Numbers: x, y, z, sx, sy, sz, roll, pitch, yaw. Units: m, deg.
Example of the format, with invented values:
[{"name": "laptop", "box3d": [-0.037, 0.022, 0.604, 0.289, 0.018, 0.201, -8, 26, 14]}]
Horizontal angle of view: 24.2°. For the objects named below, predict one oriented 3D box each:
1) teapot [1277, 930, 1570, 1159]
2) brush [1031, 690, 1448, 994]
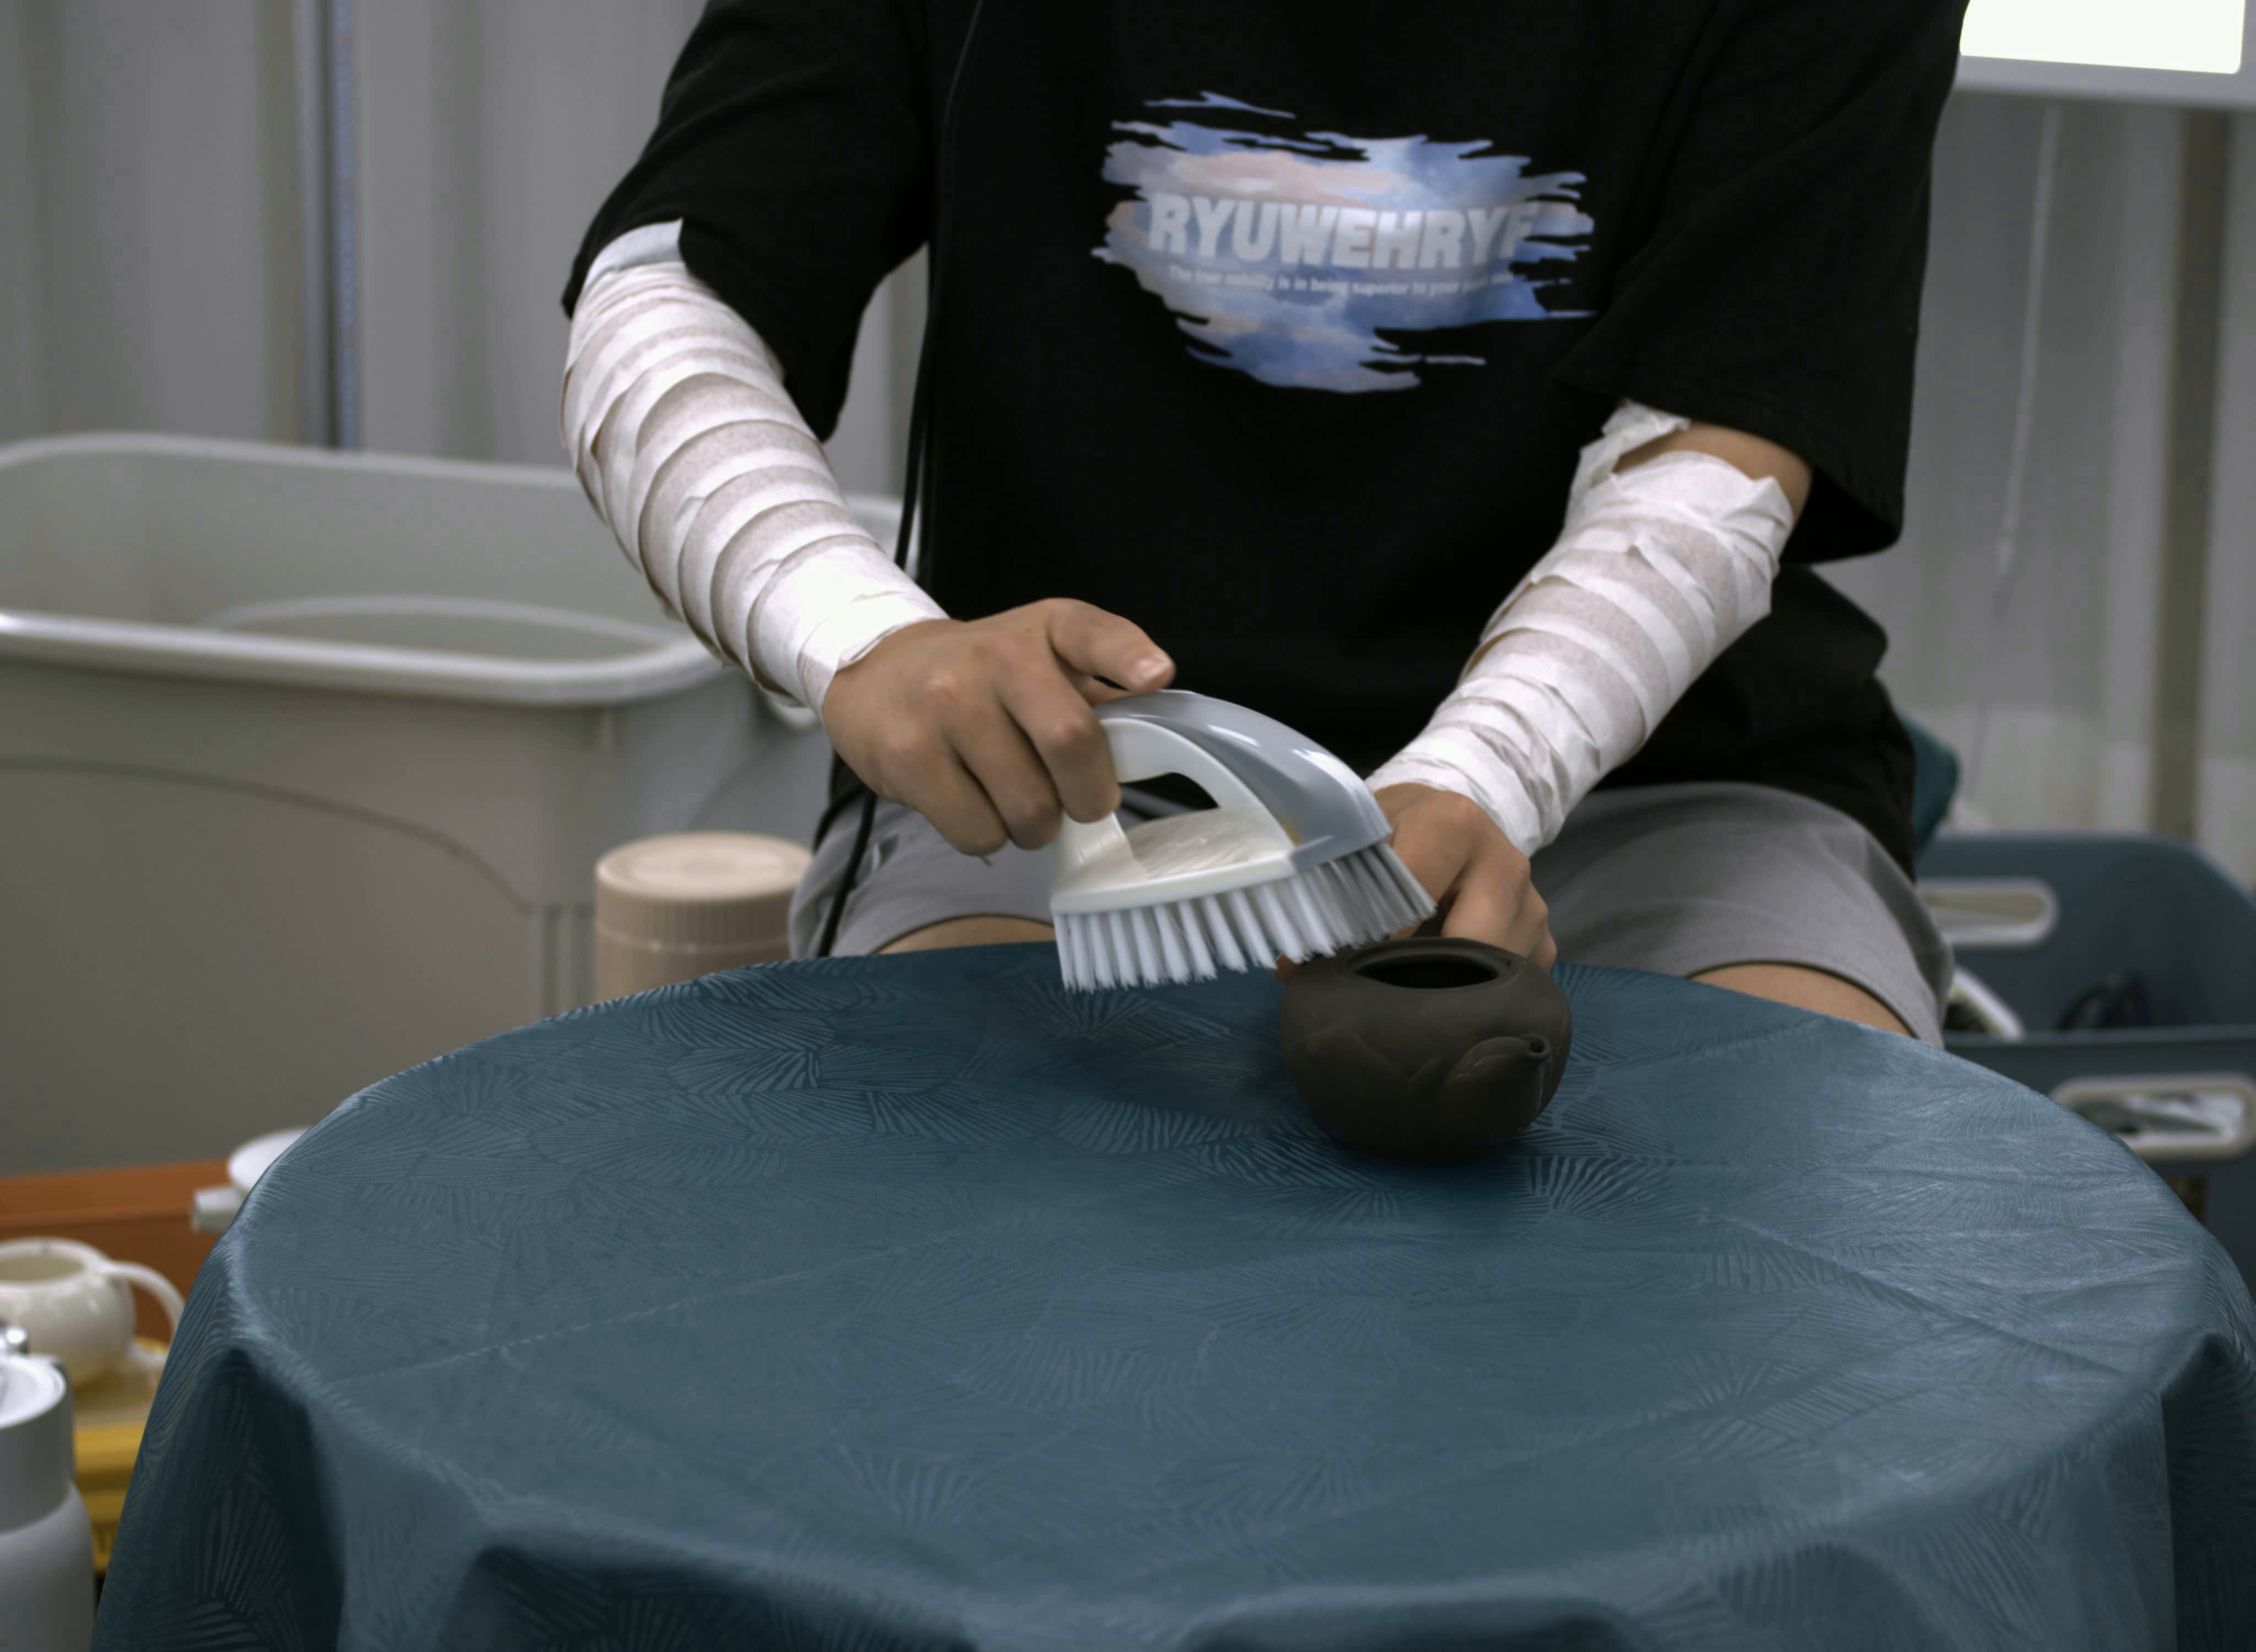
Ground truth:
[{"name": "teapot", "box3d": [0.092, 0.067, 1.670, 0.092, 0.065, 0.152, -6, 18, -24]}, {"name": "brush", "box3d": [0.030, -0.002, 1.694, 0.061, 0.095, 0.174, -36, 18, -33]}]
